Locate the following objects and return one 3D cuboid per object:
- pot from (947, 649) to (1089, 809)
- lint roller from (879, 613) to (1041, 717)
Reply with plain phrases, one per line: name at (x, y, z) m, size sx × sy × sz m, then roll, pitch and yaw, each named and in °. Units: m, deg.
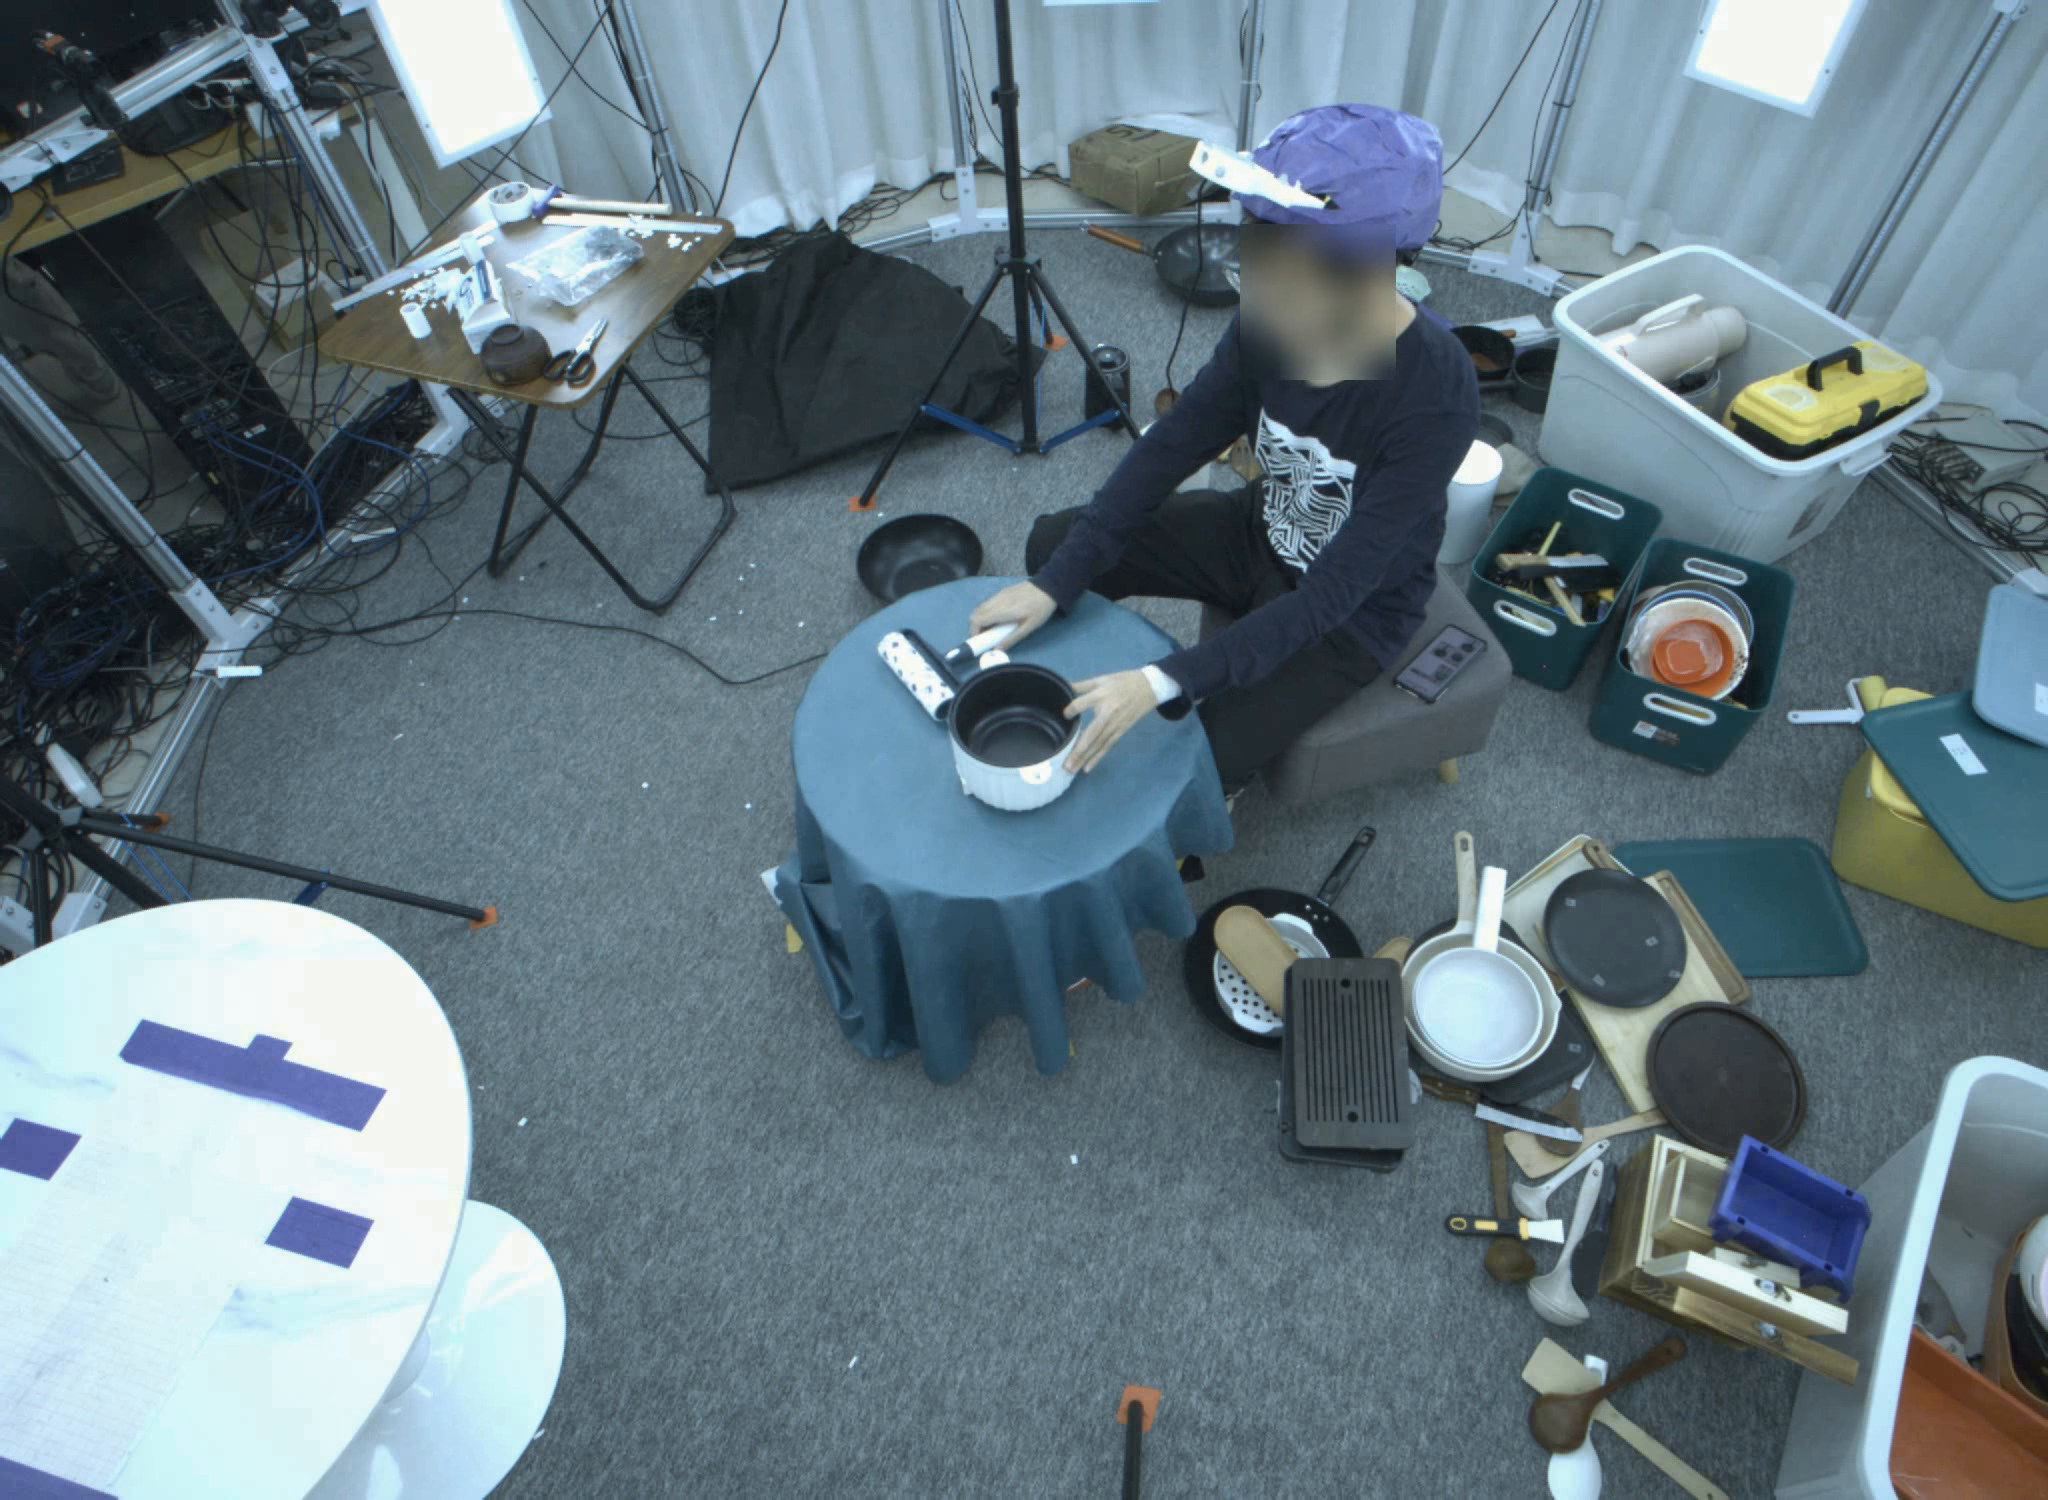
pot at (-0.005, -0.016, 1.719) m, size 0.191 × 0.144 × 0.236 m, roll -18°, pitch 59°, yaw -7°
lint roller at (-0.079, -0.161, 1.888) m, size 0.249 × 0.051 × 0.173 m, roll -29°, pitch 58°, yaw -22°
